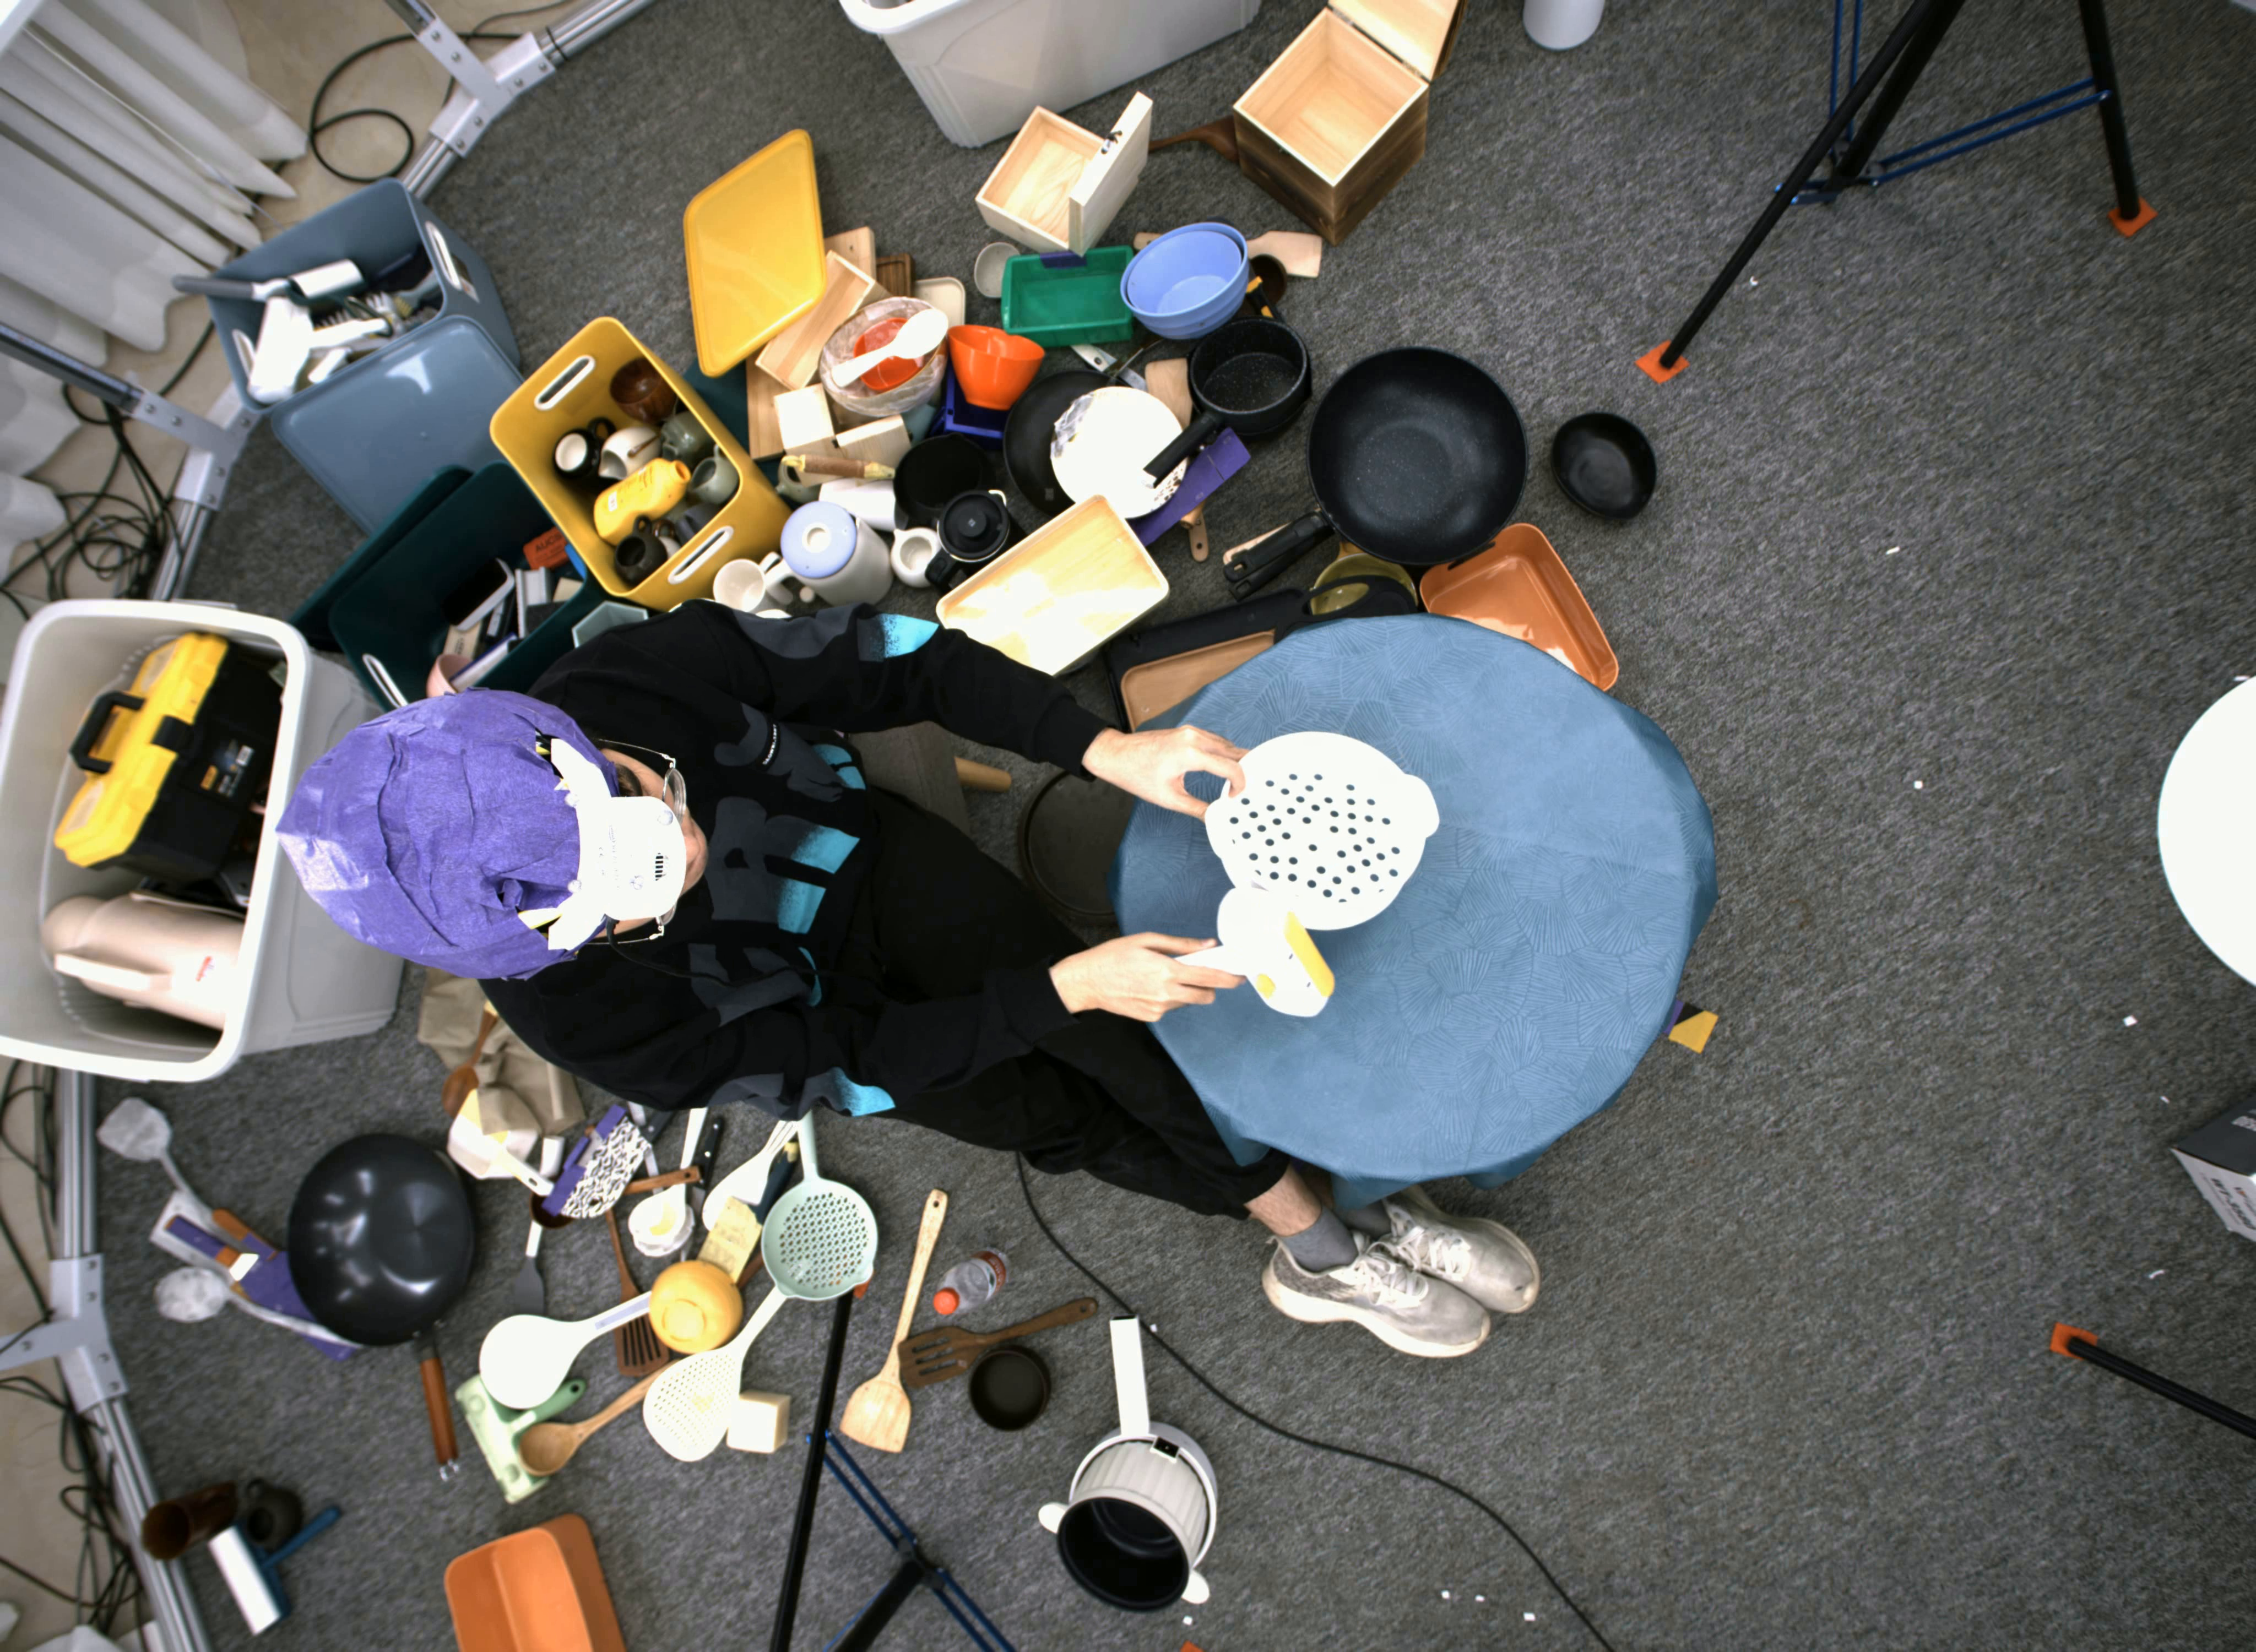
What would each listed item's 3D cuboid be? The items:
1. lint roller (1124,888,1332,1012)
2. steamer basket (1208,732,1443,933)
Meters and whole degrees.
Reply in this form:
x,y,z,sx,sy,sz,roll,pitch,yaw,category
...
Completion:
x,y,z,sx,sy,sz,roll,pitch,yaw,category
0.085,0.133,1.358,0.194,0.195,0.072,-7,60,28,lint roller
0.192,0.005,1.360,0.230,0.071,0.197,-9,62,-5,steamer basket
